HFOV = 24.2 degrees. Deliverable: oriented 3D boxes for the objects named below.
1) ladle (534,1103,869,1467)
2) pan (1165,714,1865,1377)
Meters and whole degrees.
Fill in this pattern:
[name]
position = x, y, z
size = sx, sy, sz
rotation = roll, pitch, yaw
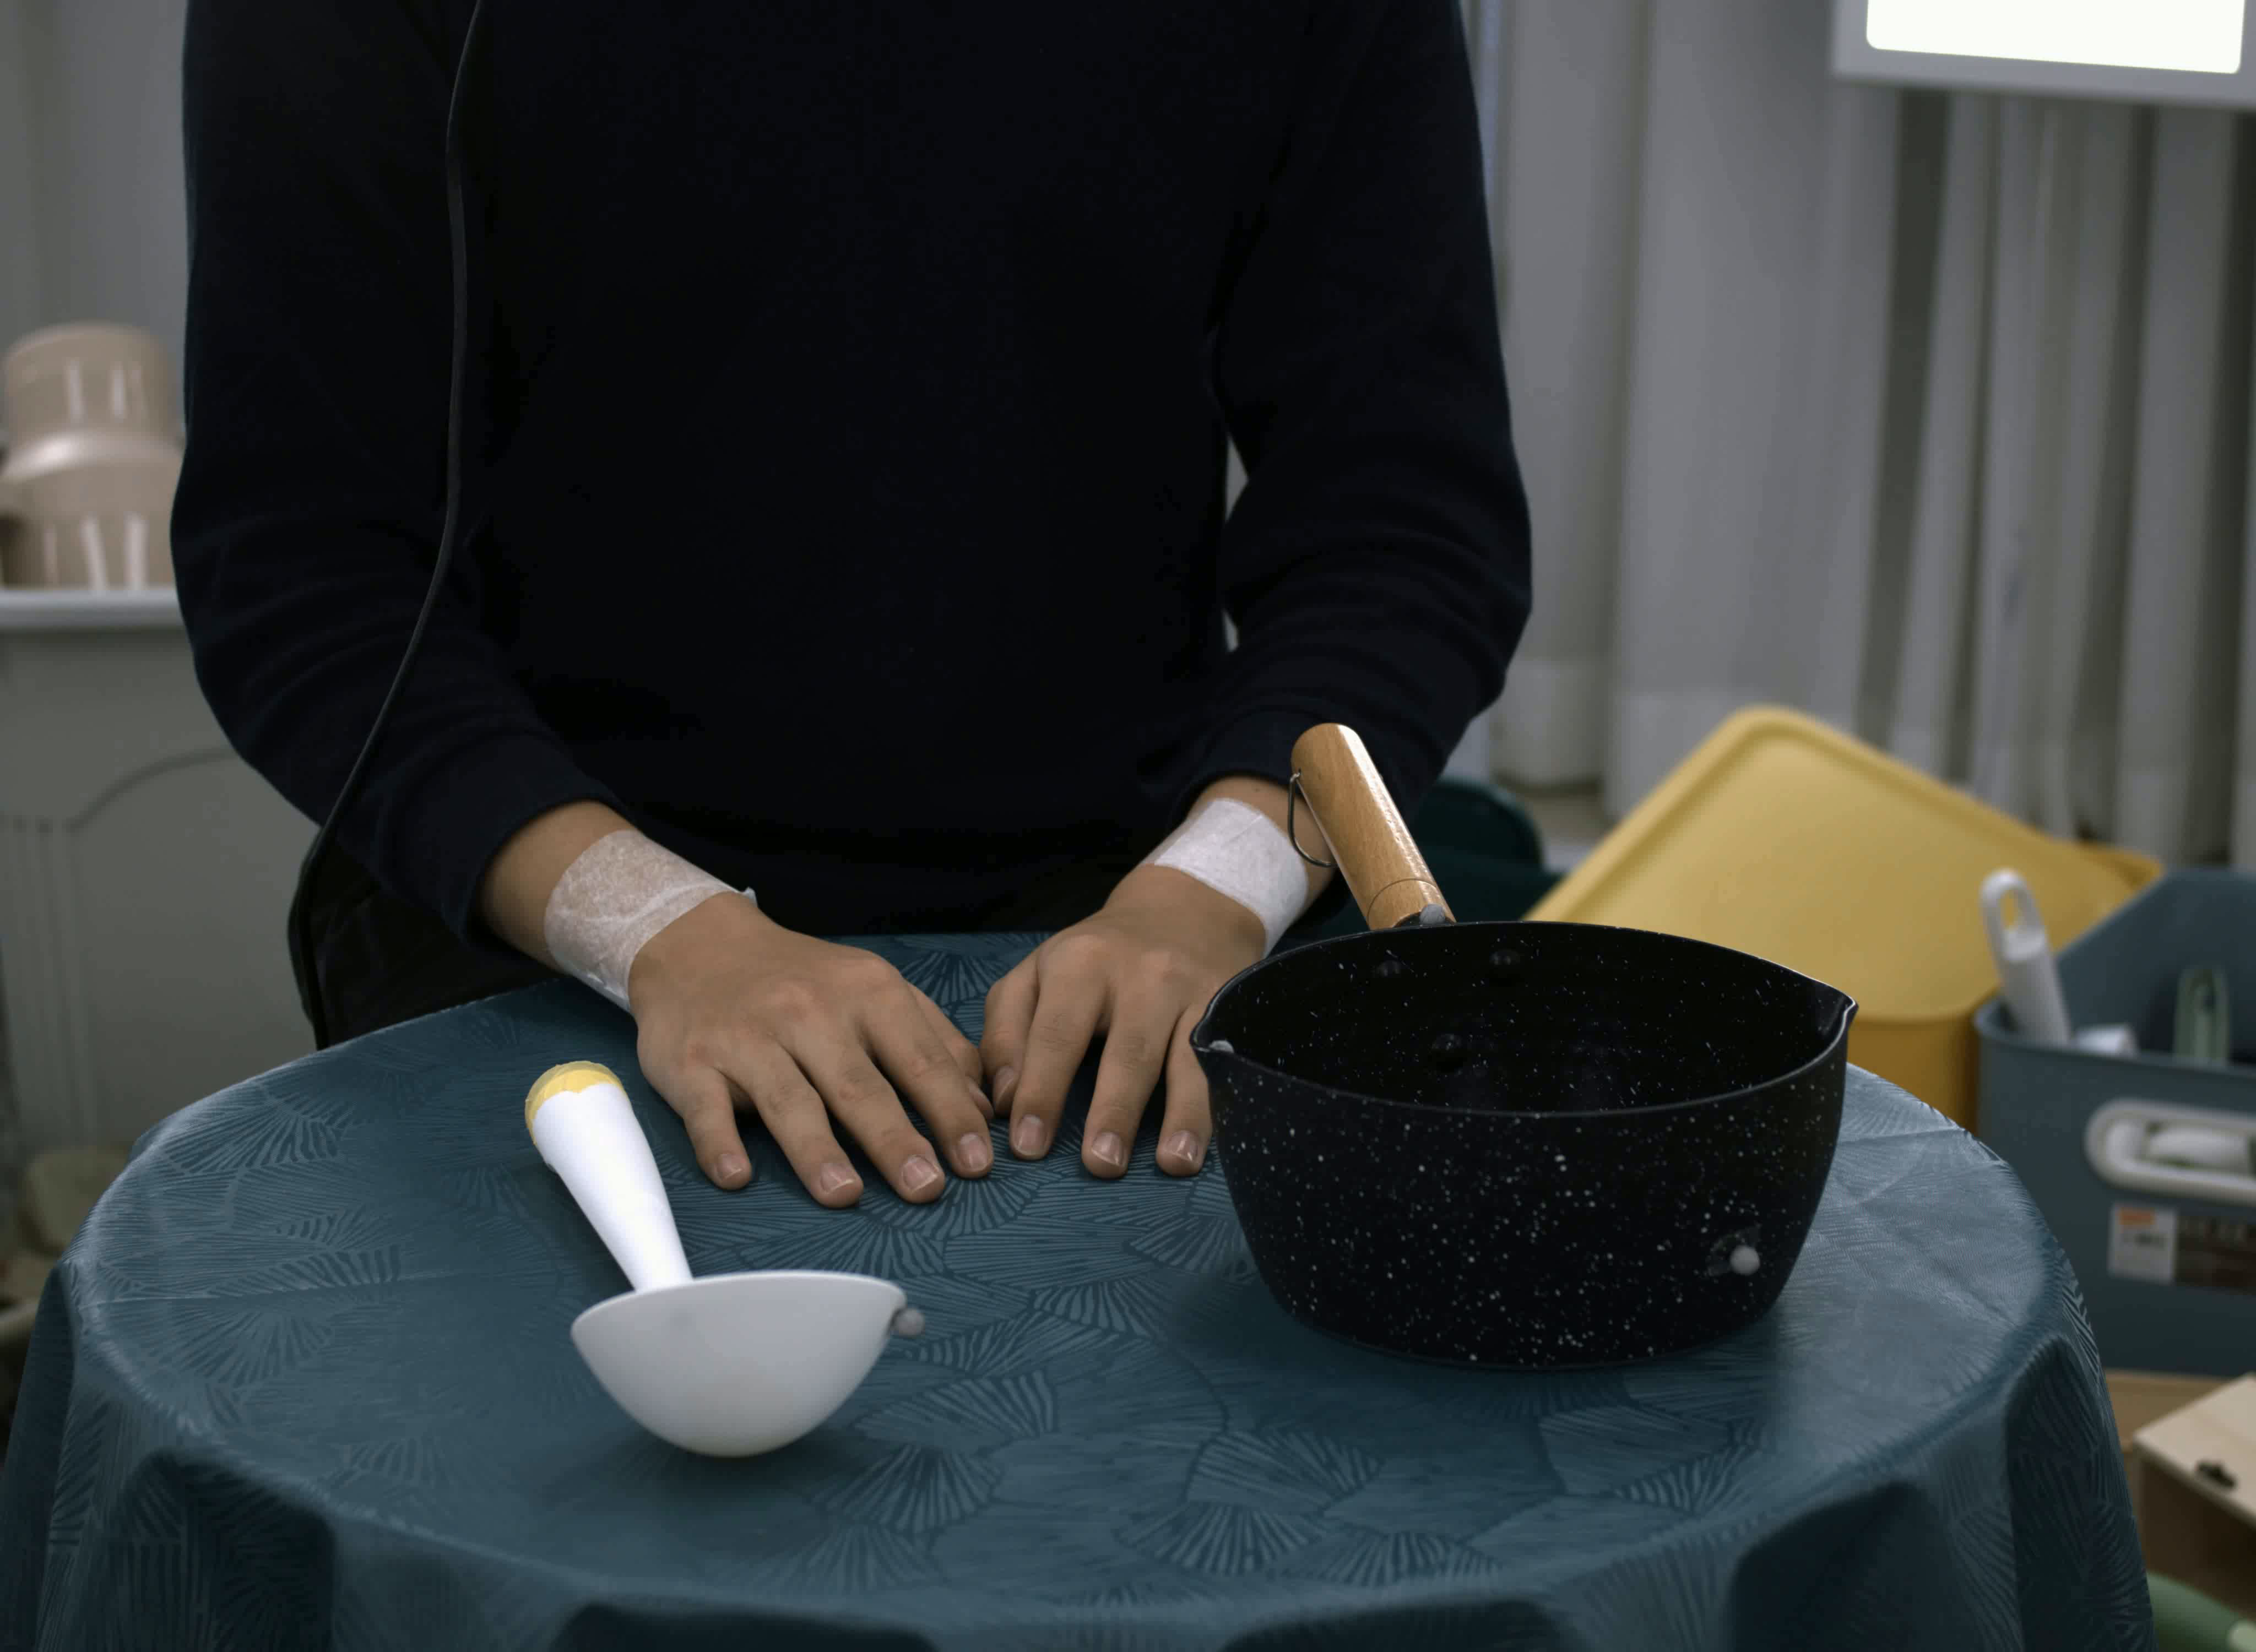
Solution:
[ladle]
position = -0.136, 0.116, 1.506
size = 0.090, 0.070, 0.290
rotation = -8, 15, -11
[pan]
position = 0.098, 0.061, 1.606
size = 0.207, 0.109, 0.339
rotation = -4, 18, -12
